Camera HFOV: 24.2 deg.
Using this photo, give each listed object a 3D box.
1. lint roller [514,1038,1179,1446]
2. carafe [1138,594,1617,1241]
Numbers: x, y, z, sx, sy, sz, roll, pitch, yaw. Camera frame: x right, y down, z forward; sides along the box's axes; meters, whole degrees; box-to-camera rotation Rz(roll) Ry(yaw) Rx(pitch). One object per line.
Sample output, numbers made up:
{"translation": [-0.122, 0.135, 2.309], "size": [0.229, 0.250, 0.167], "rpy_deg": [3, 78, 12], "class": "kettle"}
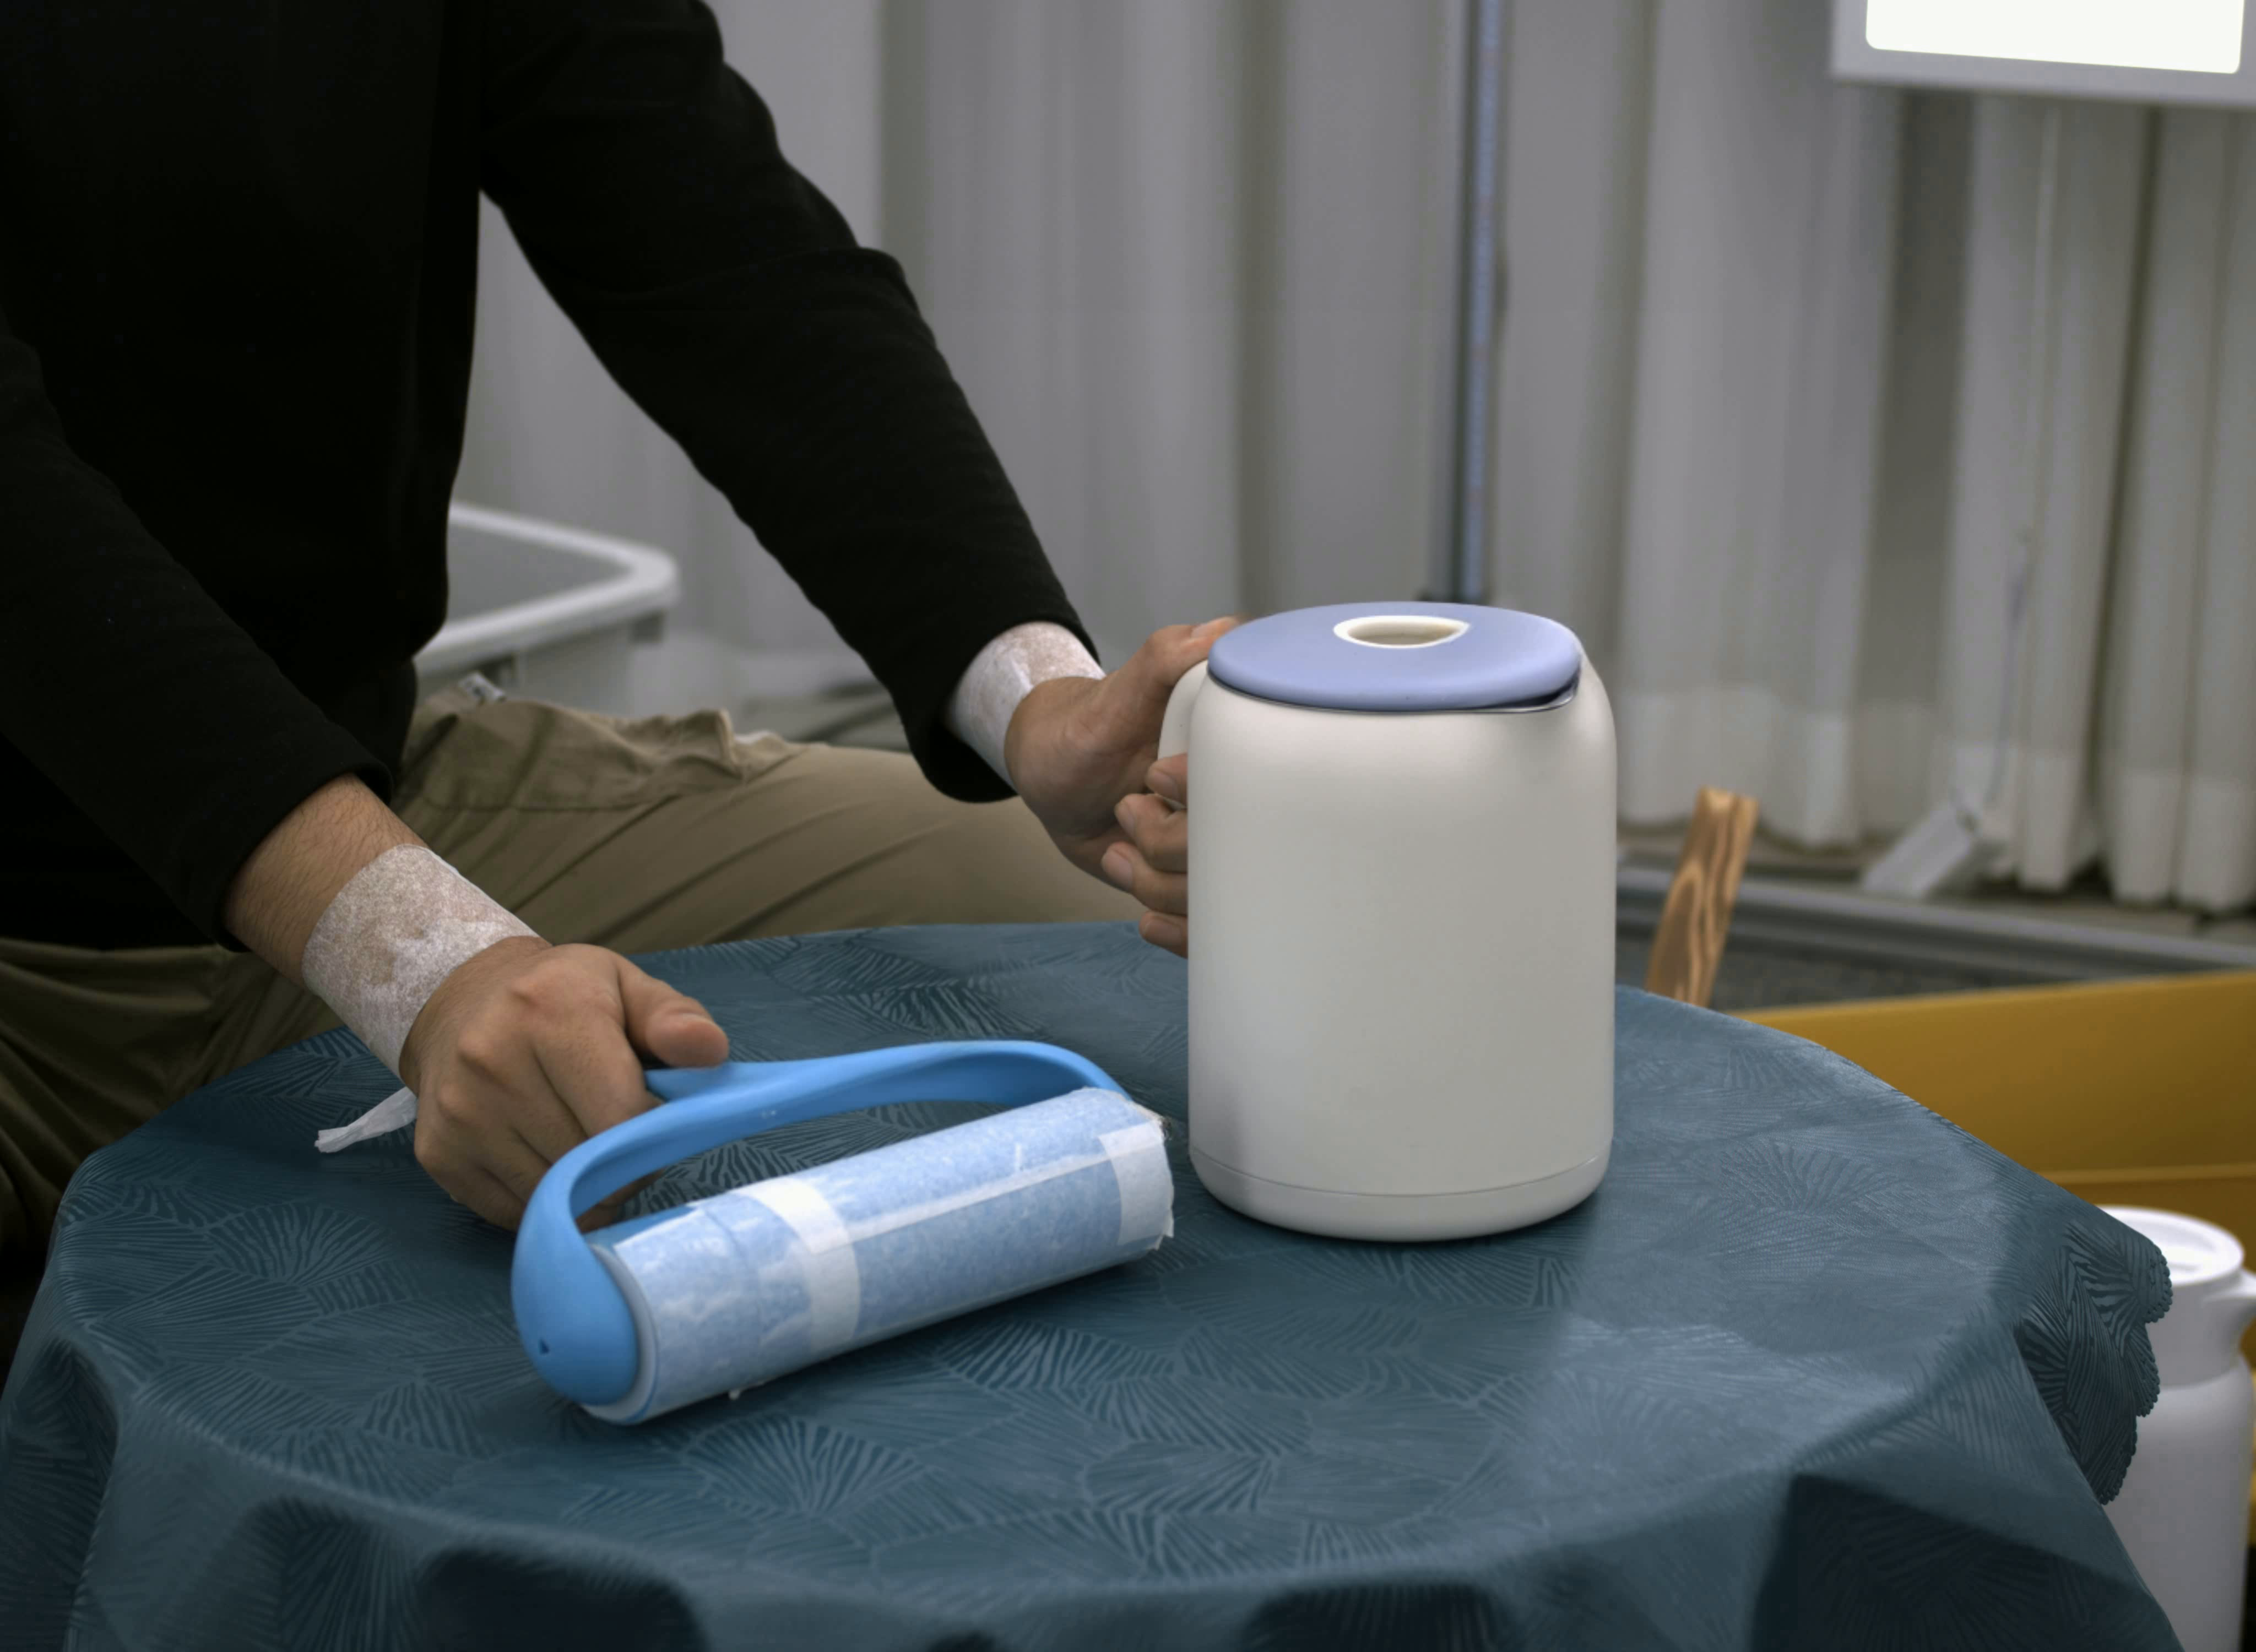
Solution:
{"translation": [-0.116, 0.100, 1.528], "size": [0.178, 0.068, 0.230], "rpy_deg": [28, 33, 37], "class": "lint roller"}
{"translation": [0.068, 0.022, 1.623], "size": [0.133, 0.184, 0.188], "rpy_deg": [-12, 17, -38], "class": "carafe"}
